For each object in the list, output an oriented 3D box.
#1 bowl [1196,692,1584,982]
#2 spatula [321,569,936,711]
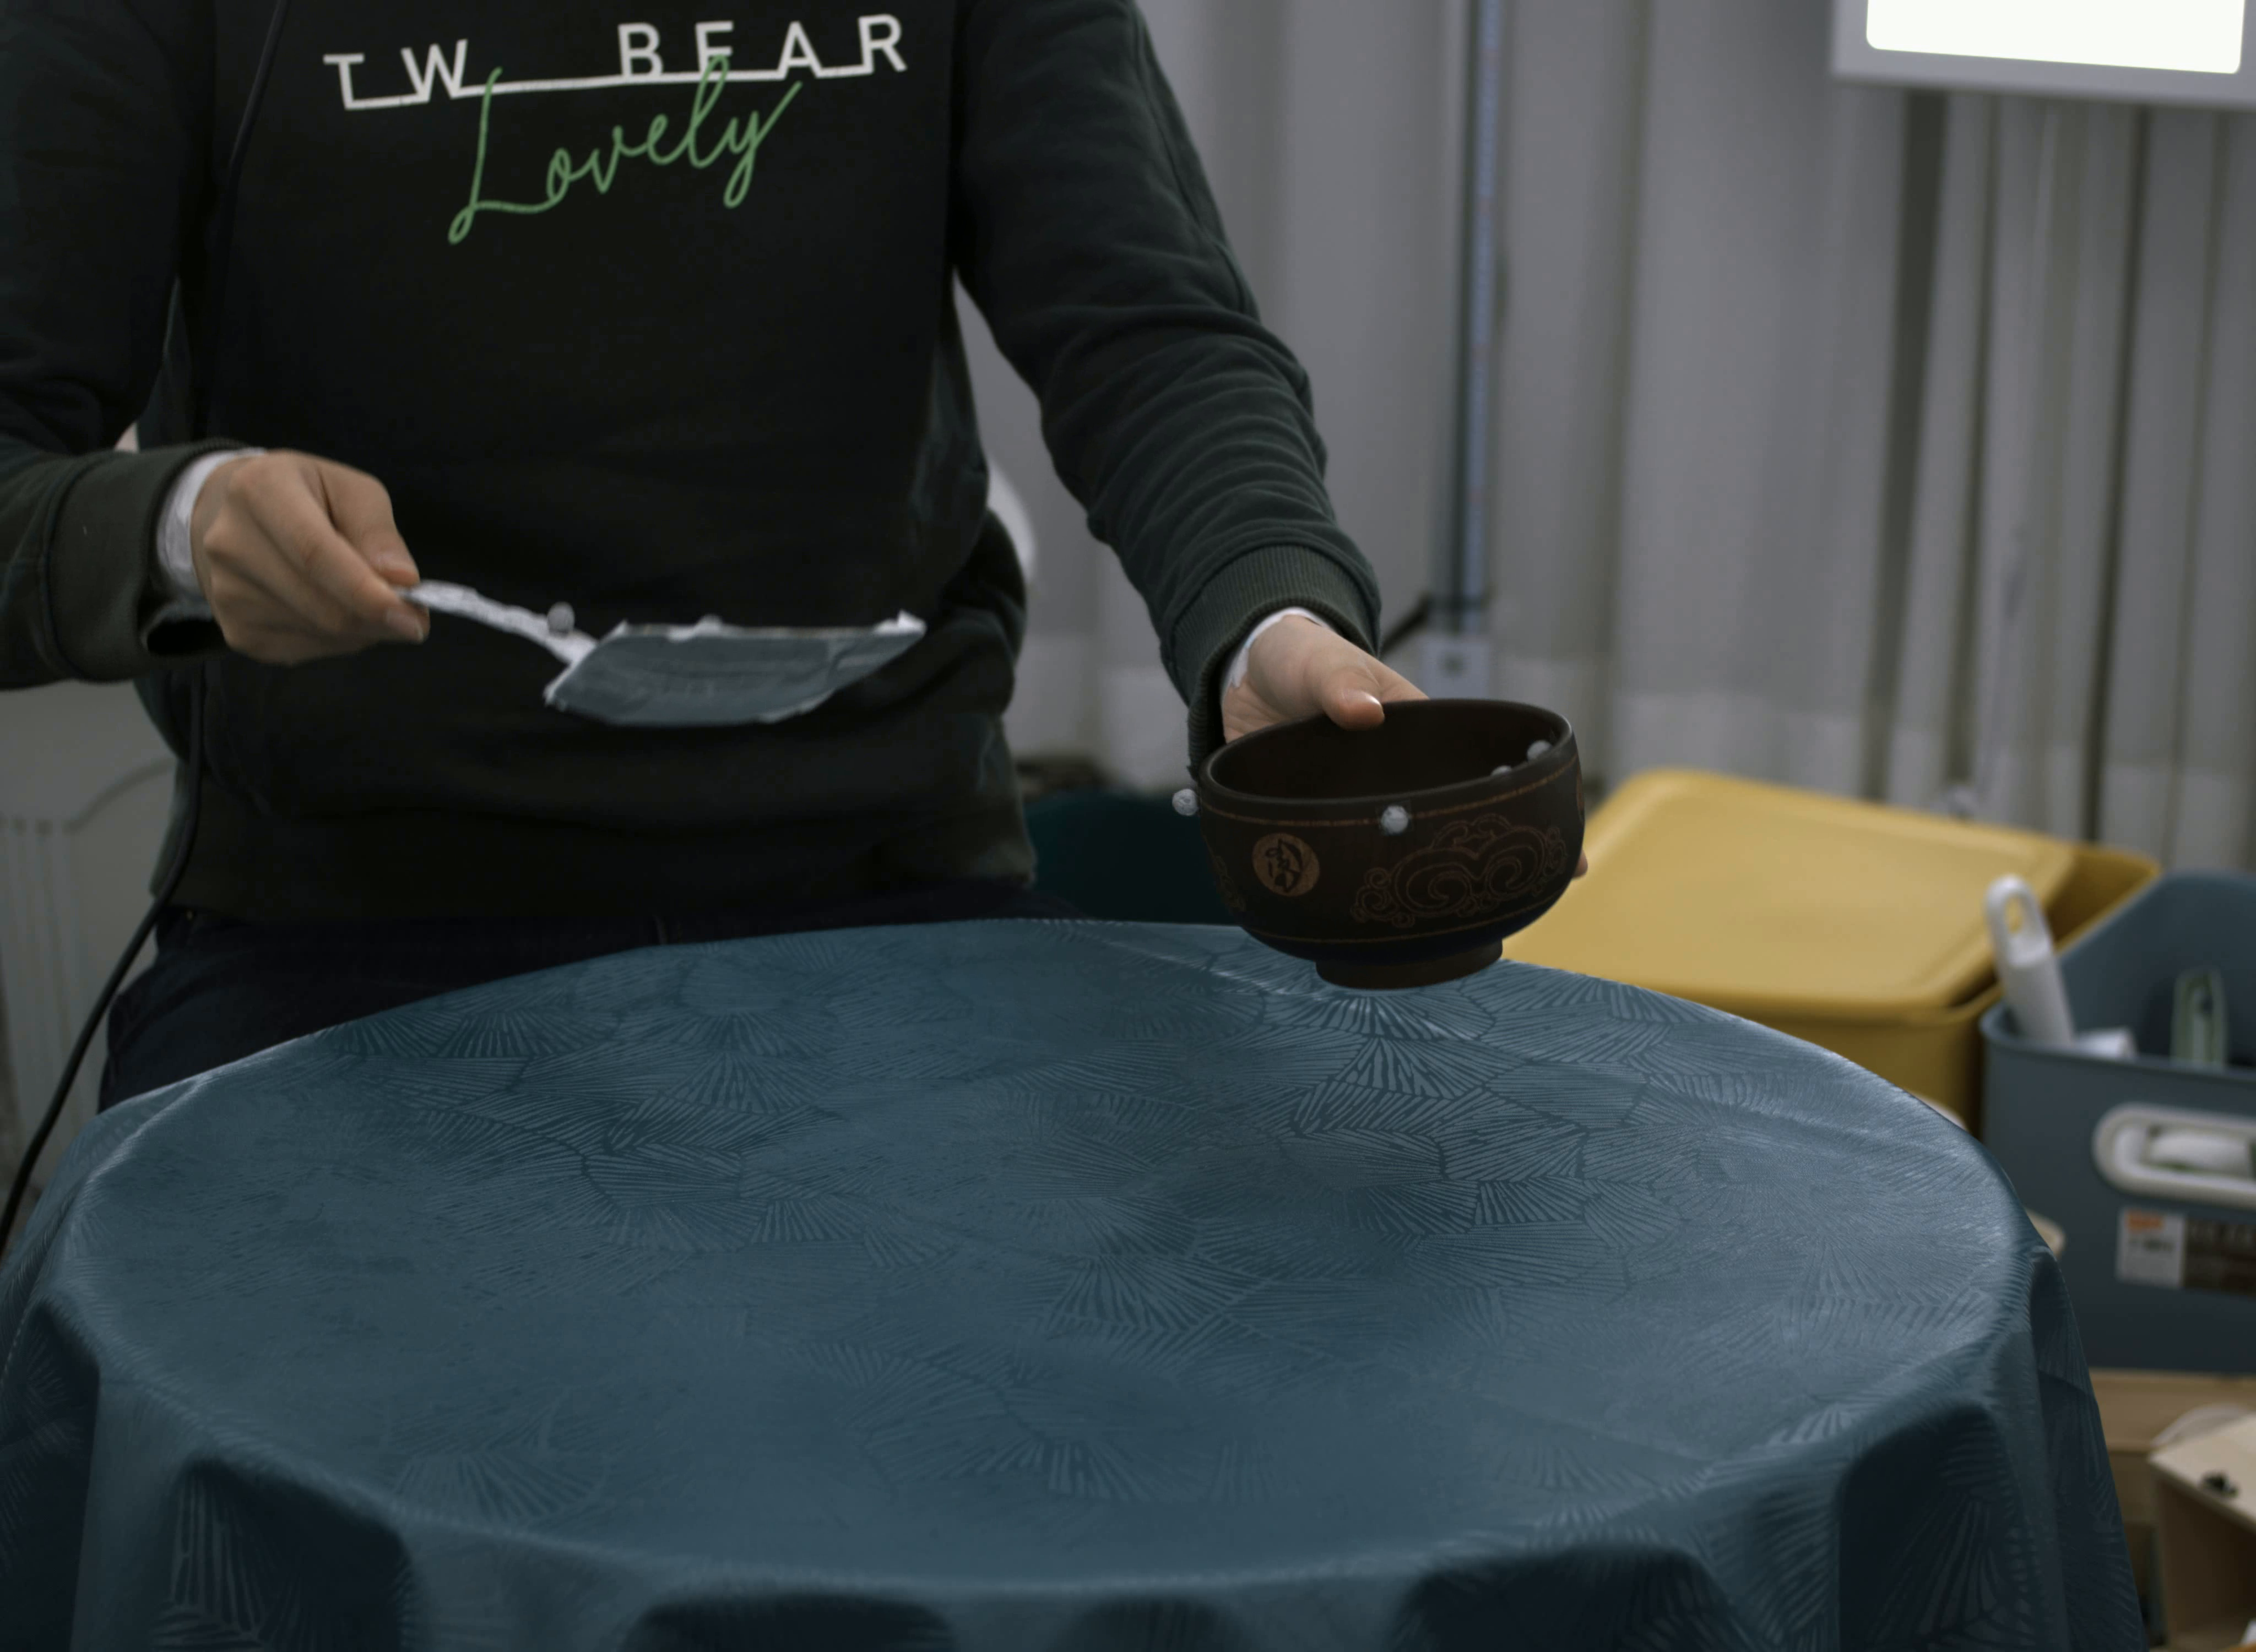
[{"bbox_3d":[0.082,0.006,1.610,0.117,0.070,0.117,-6,14,2],"label":"bowl"},{"bbox_3d":[-0.176,-0.068,1.582,0.099,0.045,0.360,-4,11,-30],"label":"spatula"}]
